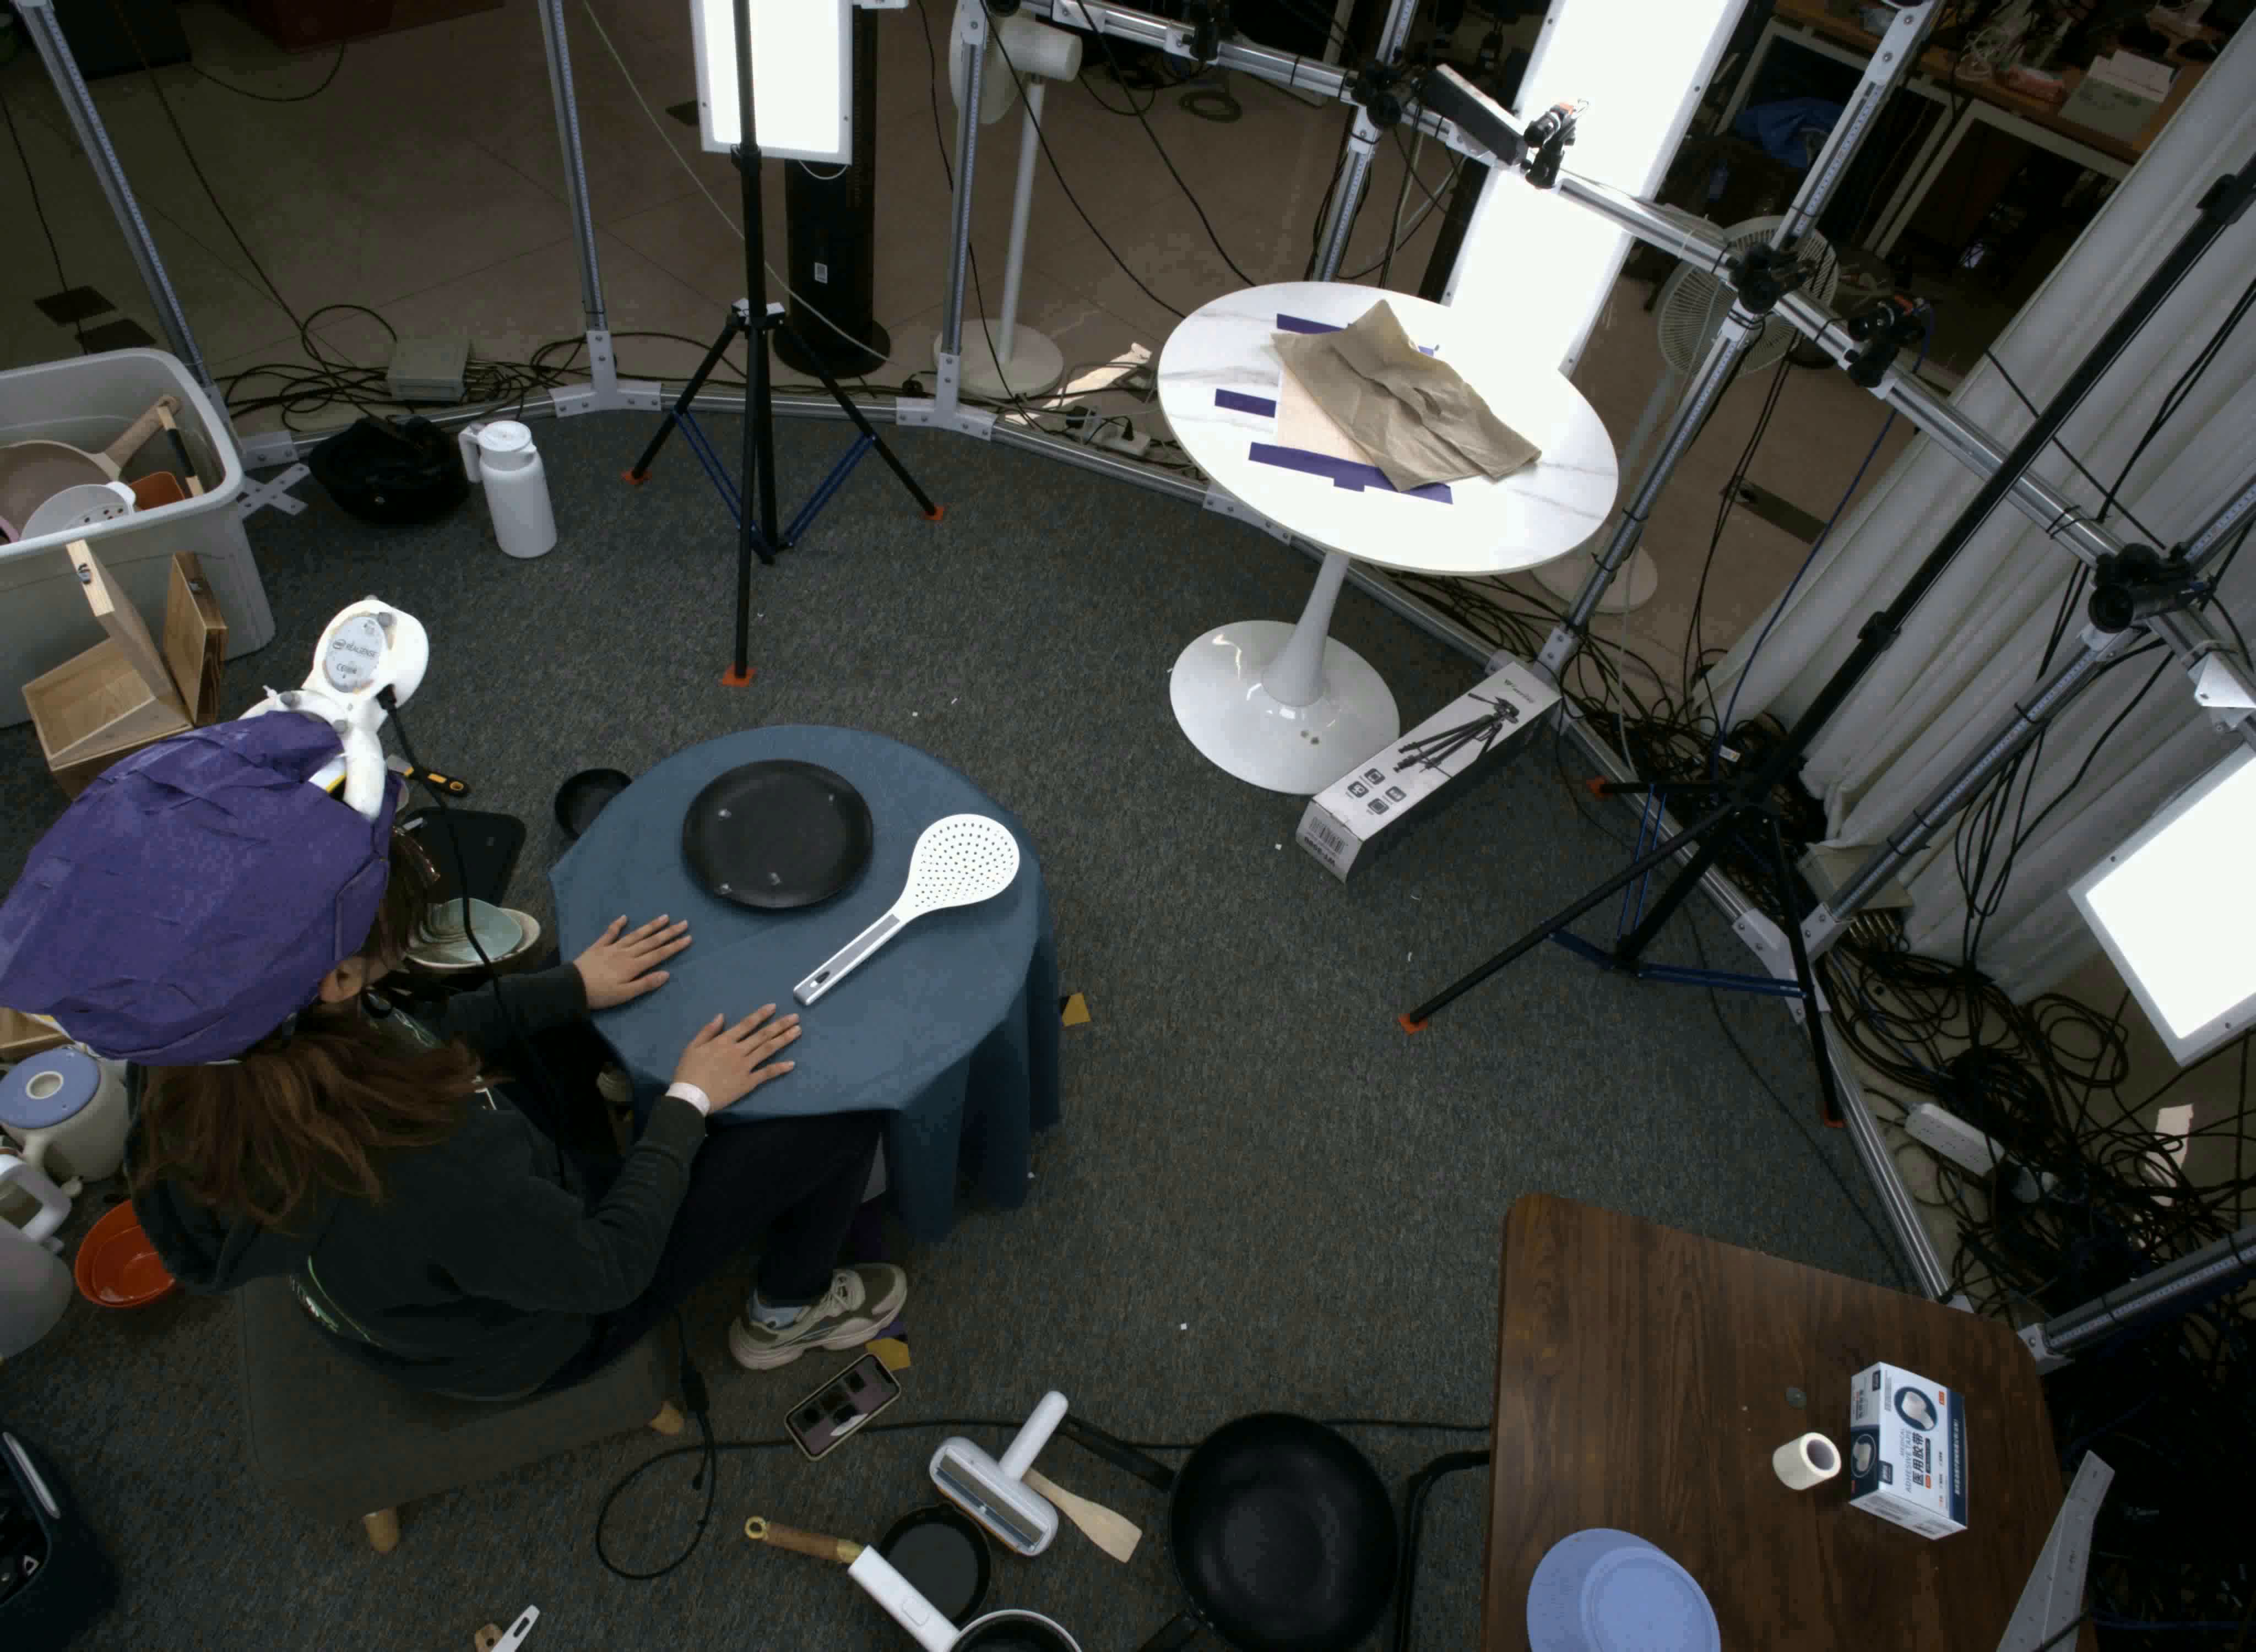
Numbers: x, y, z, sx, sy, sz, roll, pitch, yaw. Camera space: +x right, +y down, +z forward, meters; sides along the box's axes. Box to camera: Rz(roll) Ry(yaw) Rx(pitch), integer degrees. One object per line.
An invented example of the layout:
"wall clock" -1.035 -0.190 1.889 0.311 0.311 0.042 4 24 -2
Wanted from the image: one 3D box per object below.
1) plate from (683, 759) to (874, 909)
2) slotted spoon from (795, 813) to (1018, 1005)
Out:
"plate" -0.457 0.011 1.697 0.244 0.024 0.240 8 52 -9
"slotted spoon" -0.283 0.106 1.657 0.133 0.047 0.350 38 55 17
